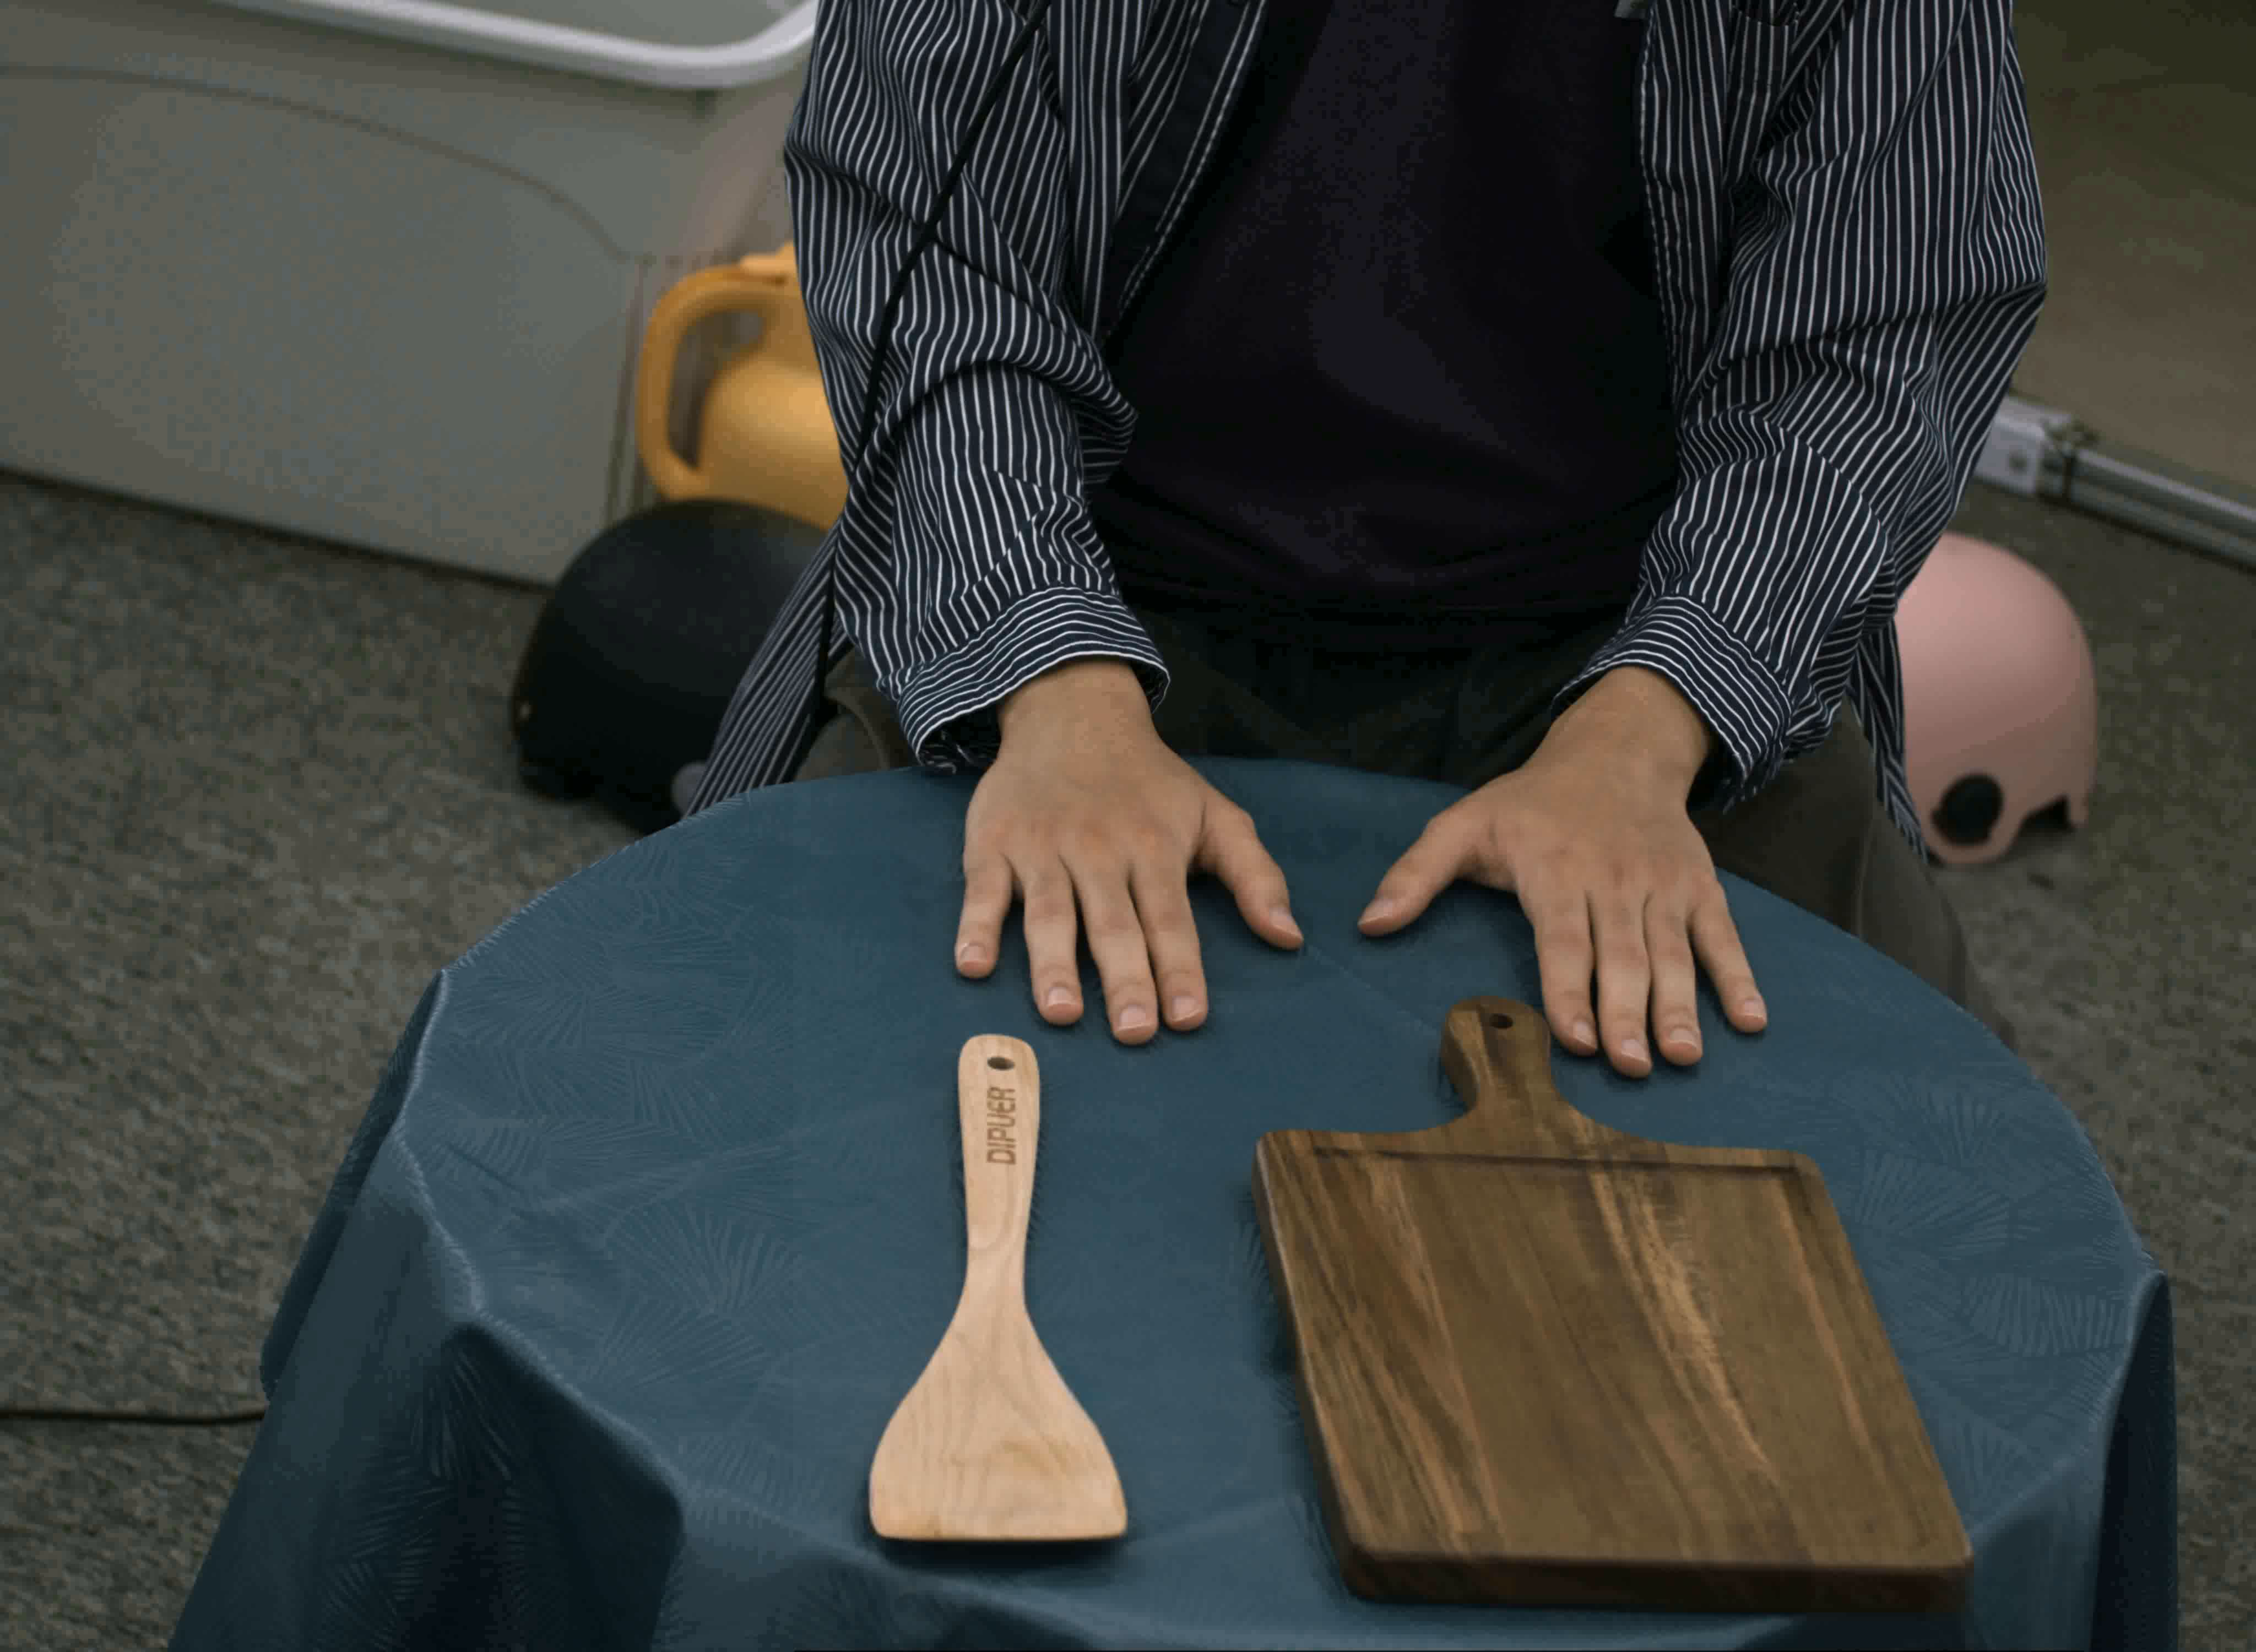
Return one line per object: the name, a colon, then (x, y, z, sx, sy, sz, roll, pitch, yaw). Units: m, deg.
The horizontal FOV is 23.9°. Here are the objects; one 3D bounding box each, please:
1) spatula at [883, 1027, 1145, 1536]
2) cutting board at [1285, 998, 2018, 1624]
spatula: (-0.039, 0.144, 1.731, 0.079, 0.016, 0.329, 5, 27, -5)
cutting board: (0.158, 0.151, 1.756, 0.200, 0.023, 0.354, 3, 27, -7)
